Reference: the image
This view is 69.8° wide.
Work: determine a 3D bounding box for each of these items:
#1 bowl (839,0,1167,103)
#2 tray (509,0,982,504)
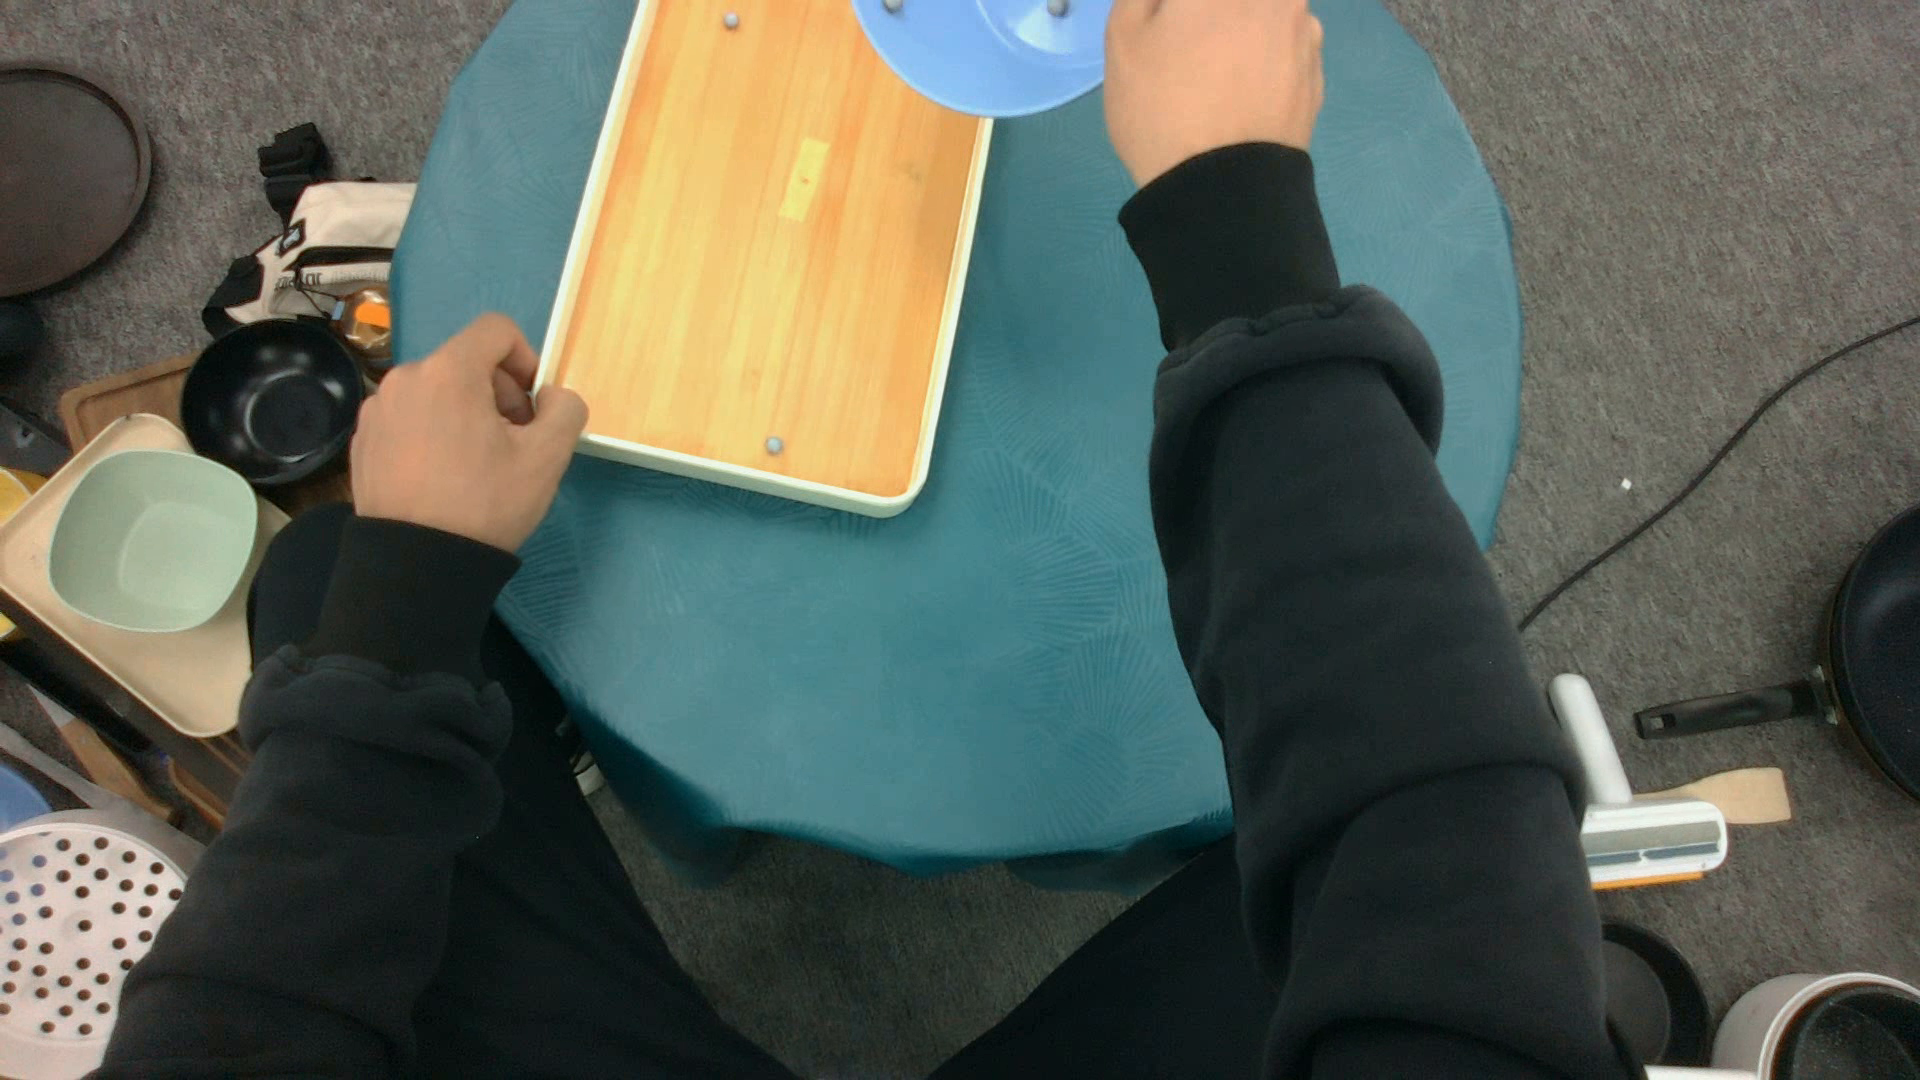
[{"bbox_3d":[0.033,-0.266,0.579,0.175,0.070,0.176,2,94,26],"label":"bowl"},{"bbox_3d":[-0.101,-0.176,0.708,0.191,0.027,0.301,12,72,-8],"label":"tray"}]
